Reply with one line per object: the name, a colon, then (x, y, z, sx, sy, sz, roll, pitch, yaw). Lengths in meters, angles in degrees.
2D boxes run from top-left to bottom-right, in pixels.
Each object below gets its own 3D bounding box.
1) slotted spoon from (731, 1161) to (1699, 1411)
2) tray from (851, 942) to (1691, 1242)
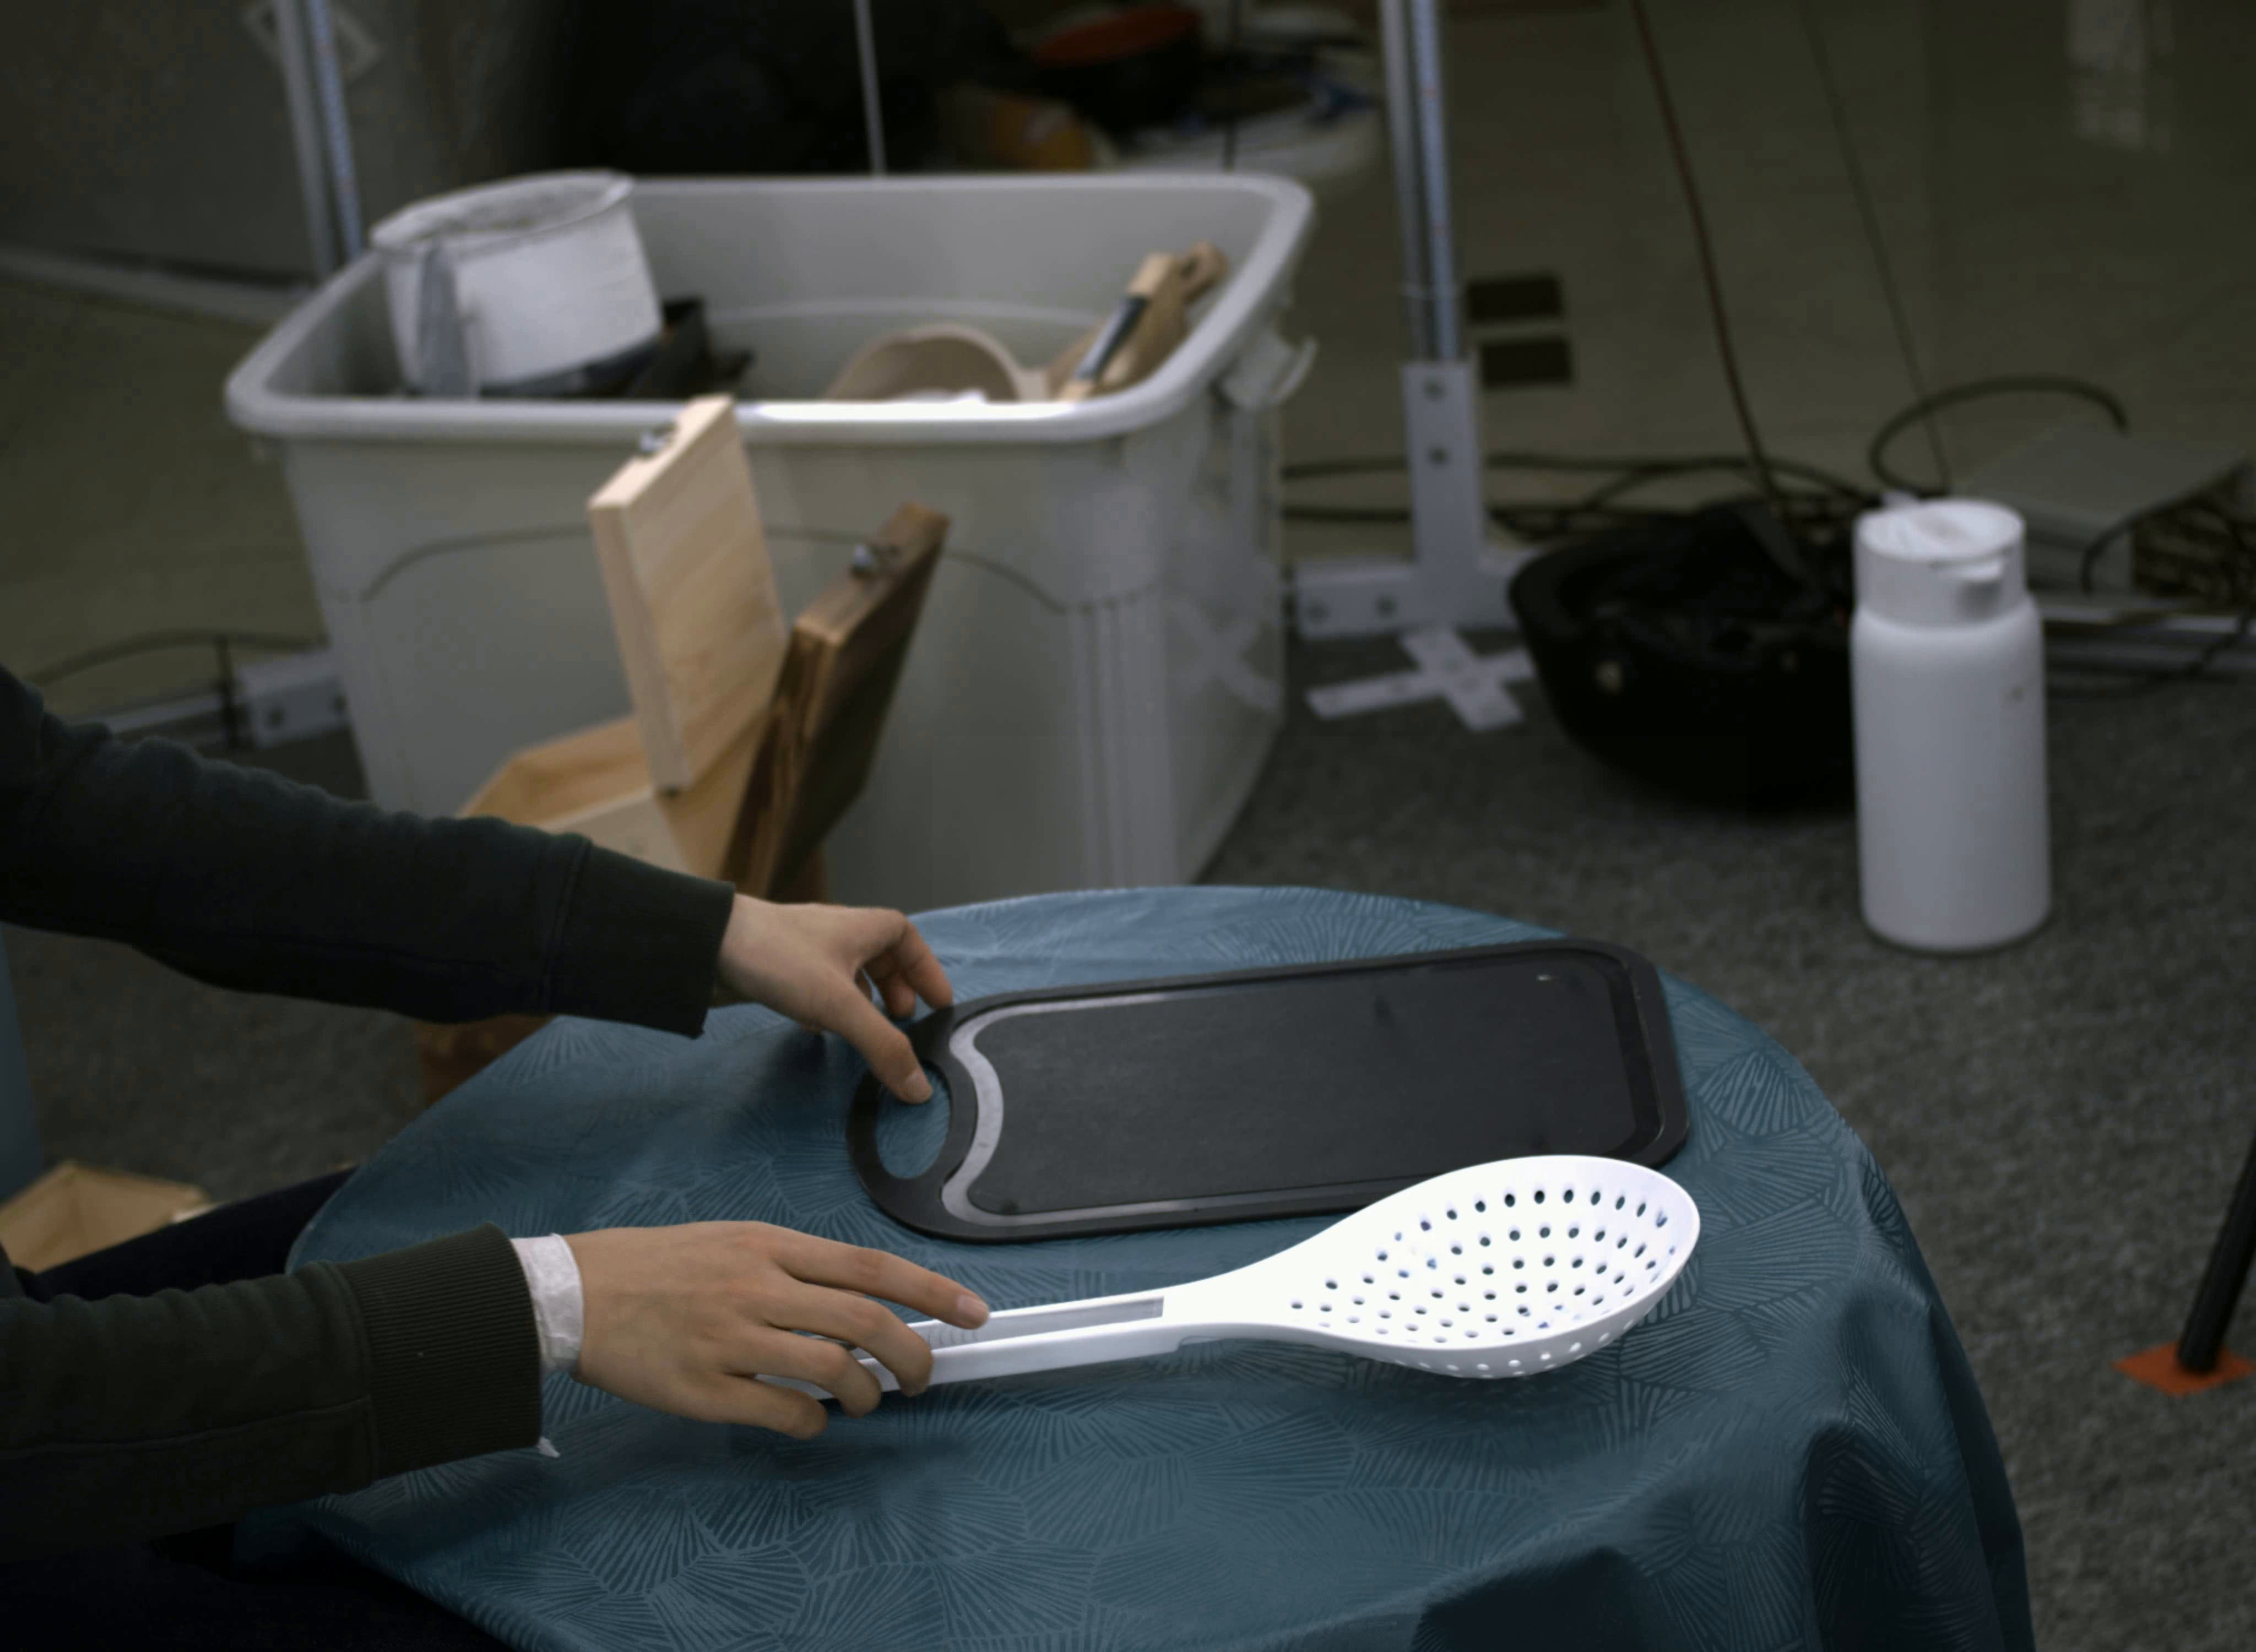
slotted spoon: (0.029, 0.173, 2.018, 0.349, 0.046, 0.134, -5, 23, 6)
tray: (0.053, 0.102, 2.213, 0.325, 0.010, 0.208, -6, 25, 3)
